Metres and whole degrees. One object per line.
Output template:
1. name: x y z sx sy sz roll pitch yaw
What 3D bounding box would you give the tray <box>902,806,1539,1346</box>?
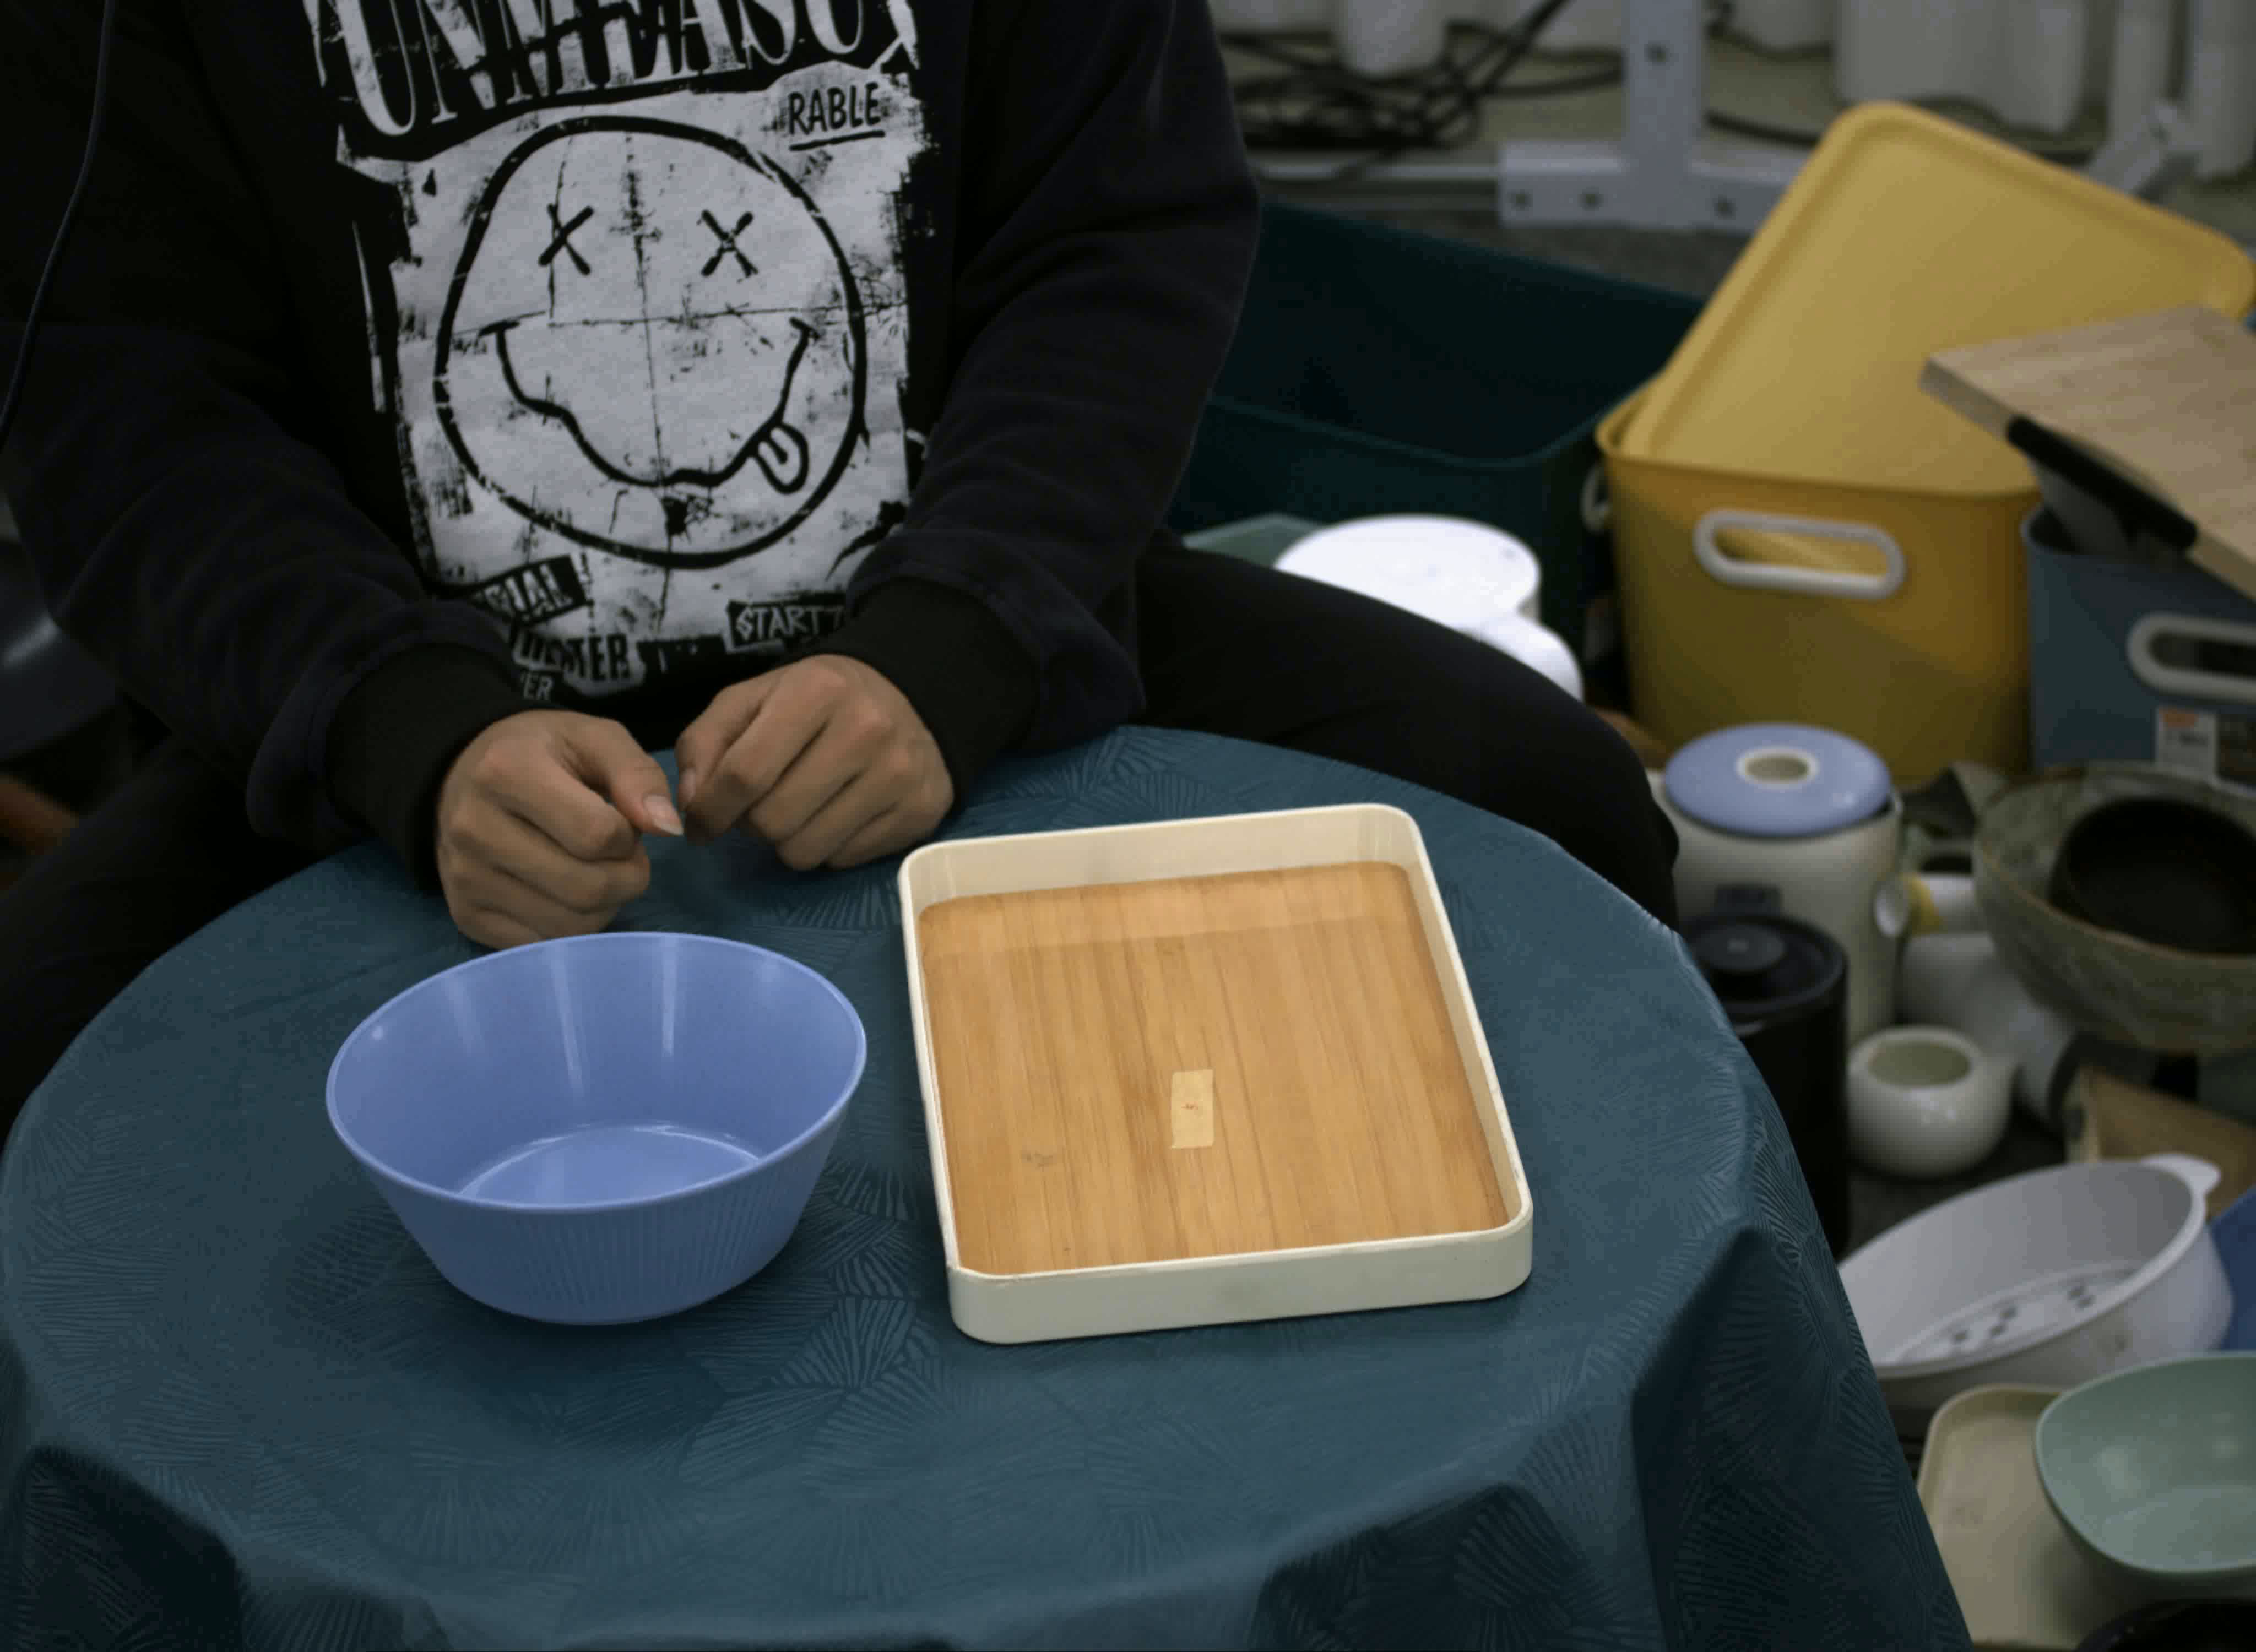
1. tray: 0.025 0.080 1.912 0.191 0.027 0.304 -5 27 -3

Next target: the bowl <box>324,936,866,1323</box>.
1. bowl: -0.171 0.105 1.833 0.175 0.069 0.179 -1 27 1
